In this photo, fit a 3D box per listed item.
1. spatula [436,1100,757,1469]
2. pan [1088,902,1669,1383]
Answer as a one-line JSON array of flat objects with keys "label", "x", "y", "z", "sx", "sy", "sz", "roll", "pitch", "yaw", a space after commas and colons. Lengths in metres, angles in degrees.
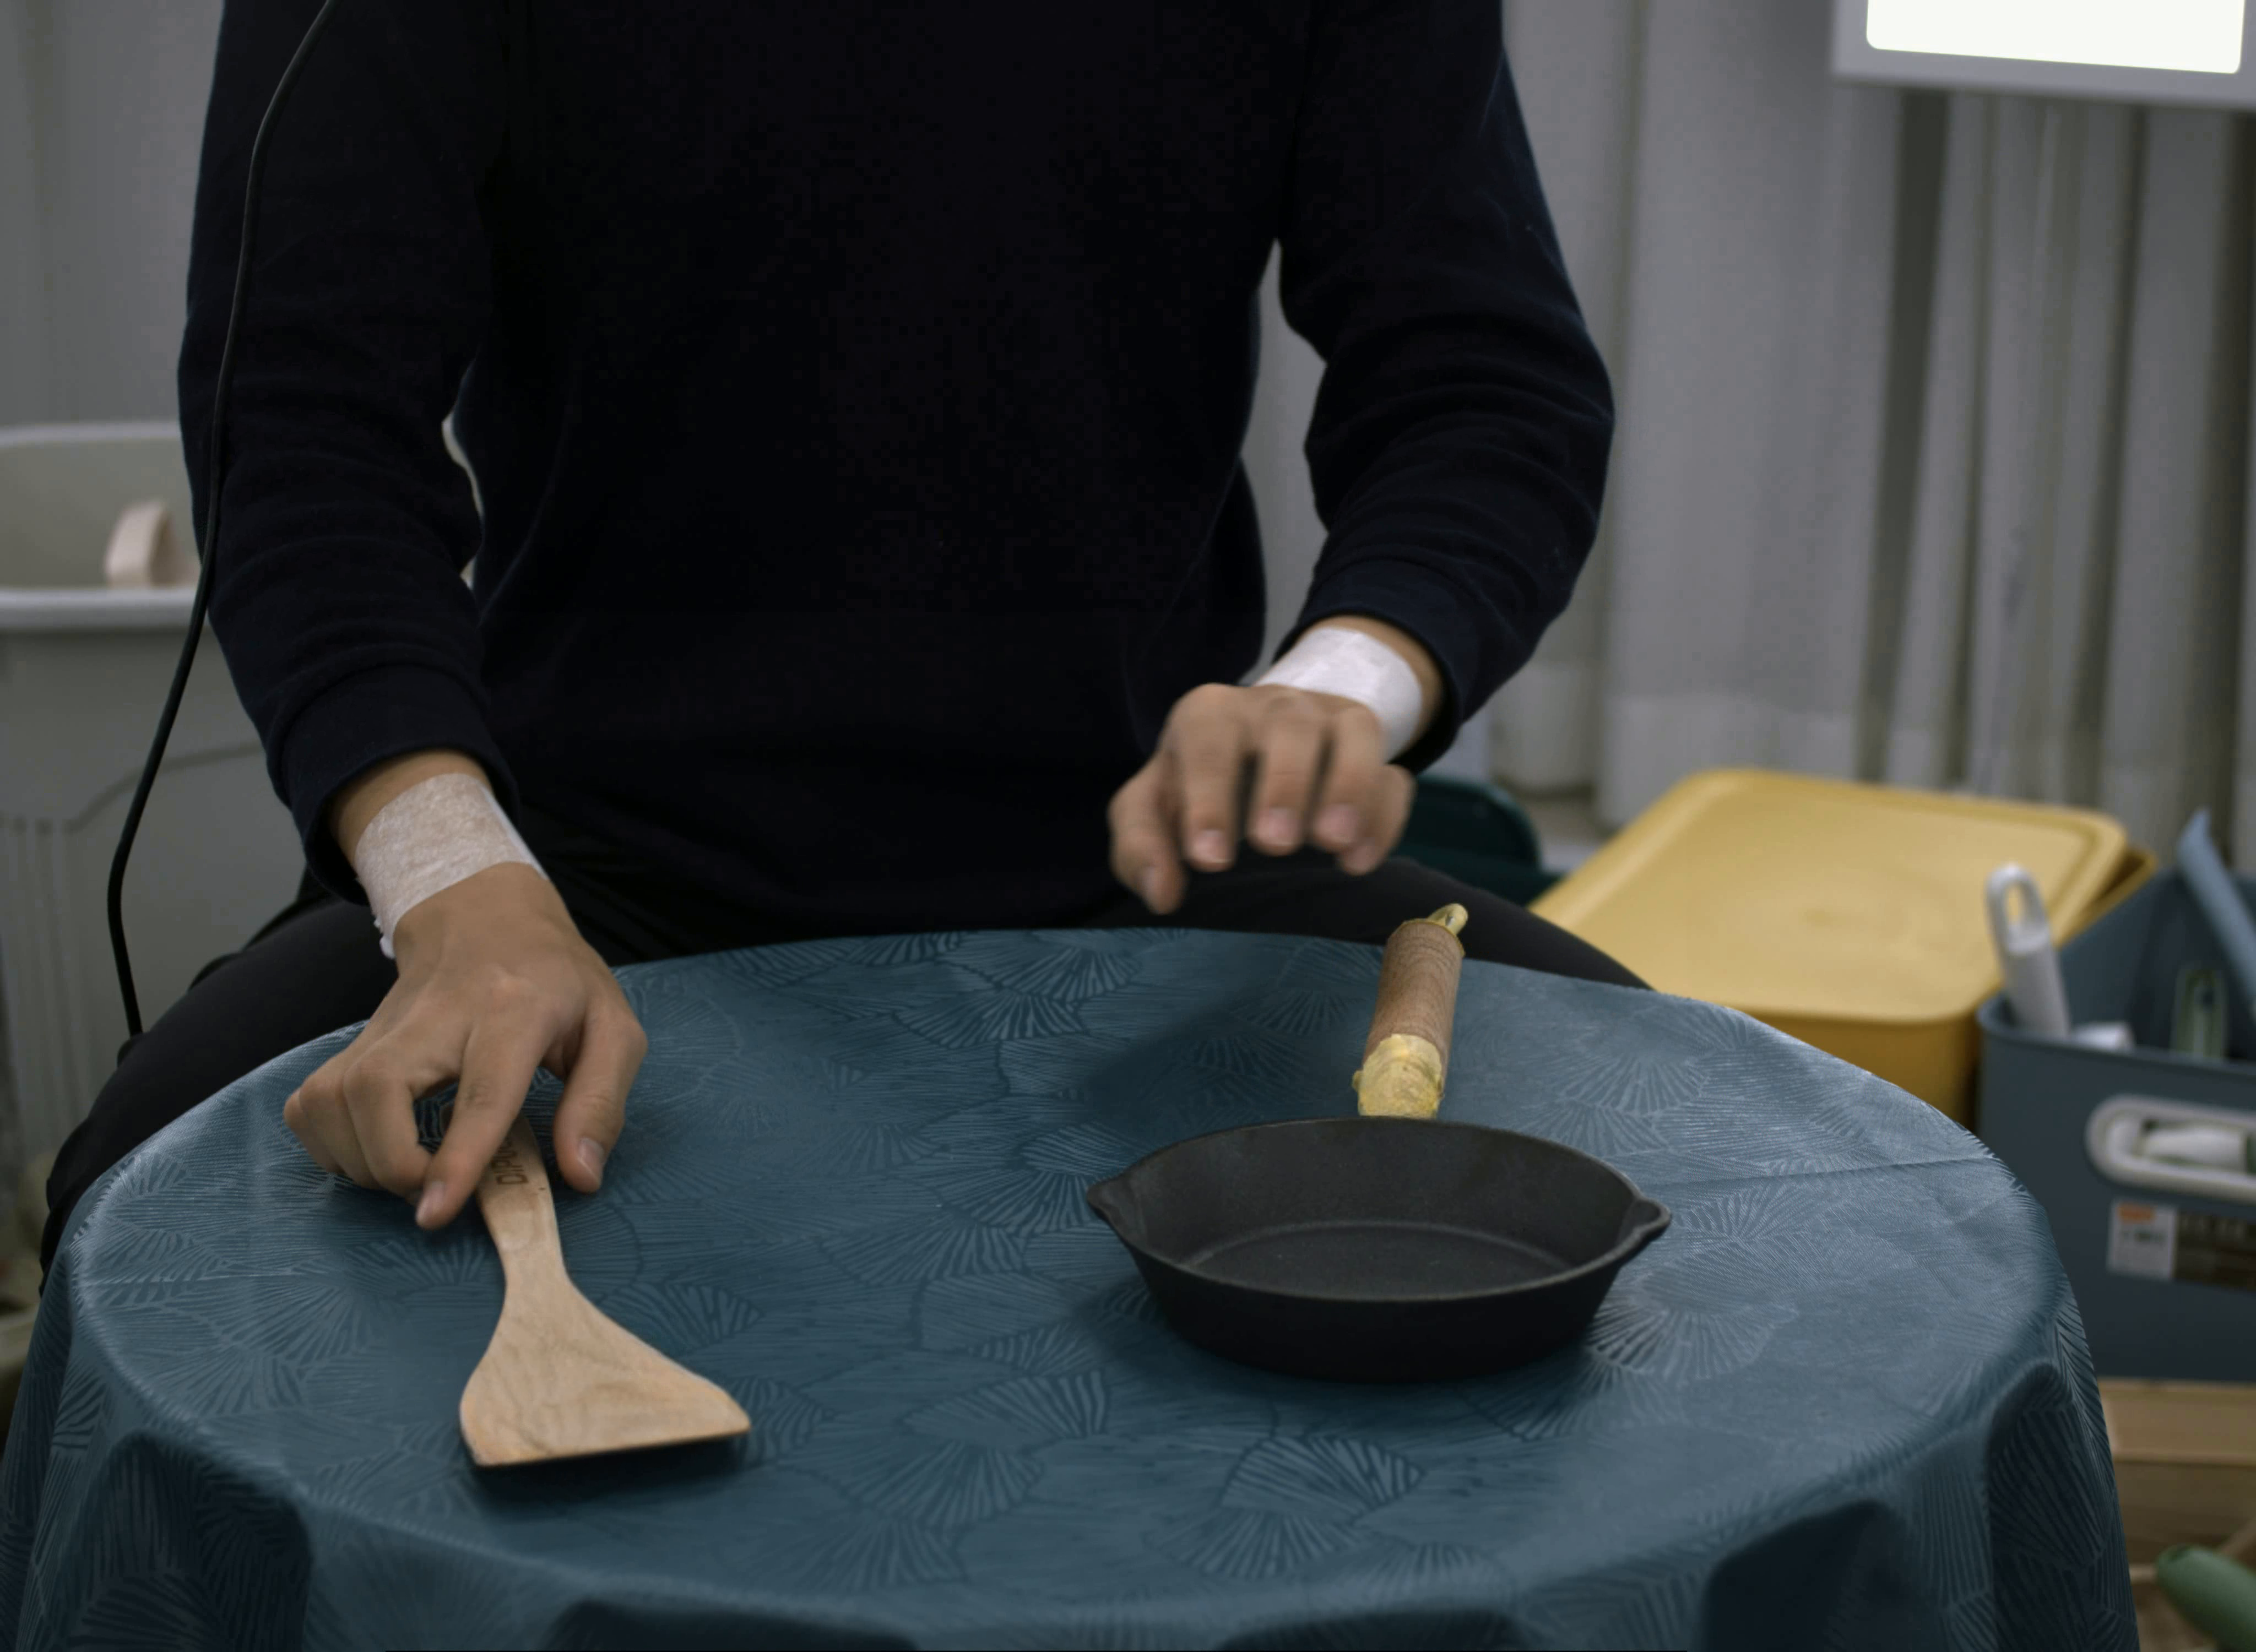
[{"label": "spatula", "x": -0.170, "y": 0.128, "z": 1.529, "sx": 0.080, "sy": 0.016, "sz": 0.324, "roll": -2, "pitch": 16, "yaw": -13}, {"label": "pan", "x": 0.084, "y": 0.092, "z": 1.602, "sx": 0.168, "sy": 0.050, "sz": 0.323, "roll": 2, "pitch": 17, "yaw": 8}]
